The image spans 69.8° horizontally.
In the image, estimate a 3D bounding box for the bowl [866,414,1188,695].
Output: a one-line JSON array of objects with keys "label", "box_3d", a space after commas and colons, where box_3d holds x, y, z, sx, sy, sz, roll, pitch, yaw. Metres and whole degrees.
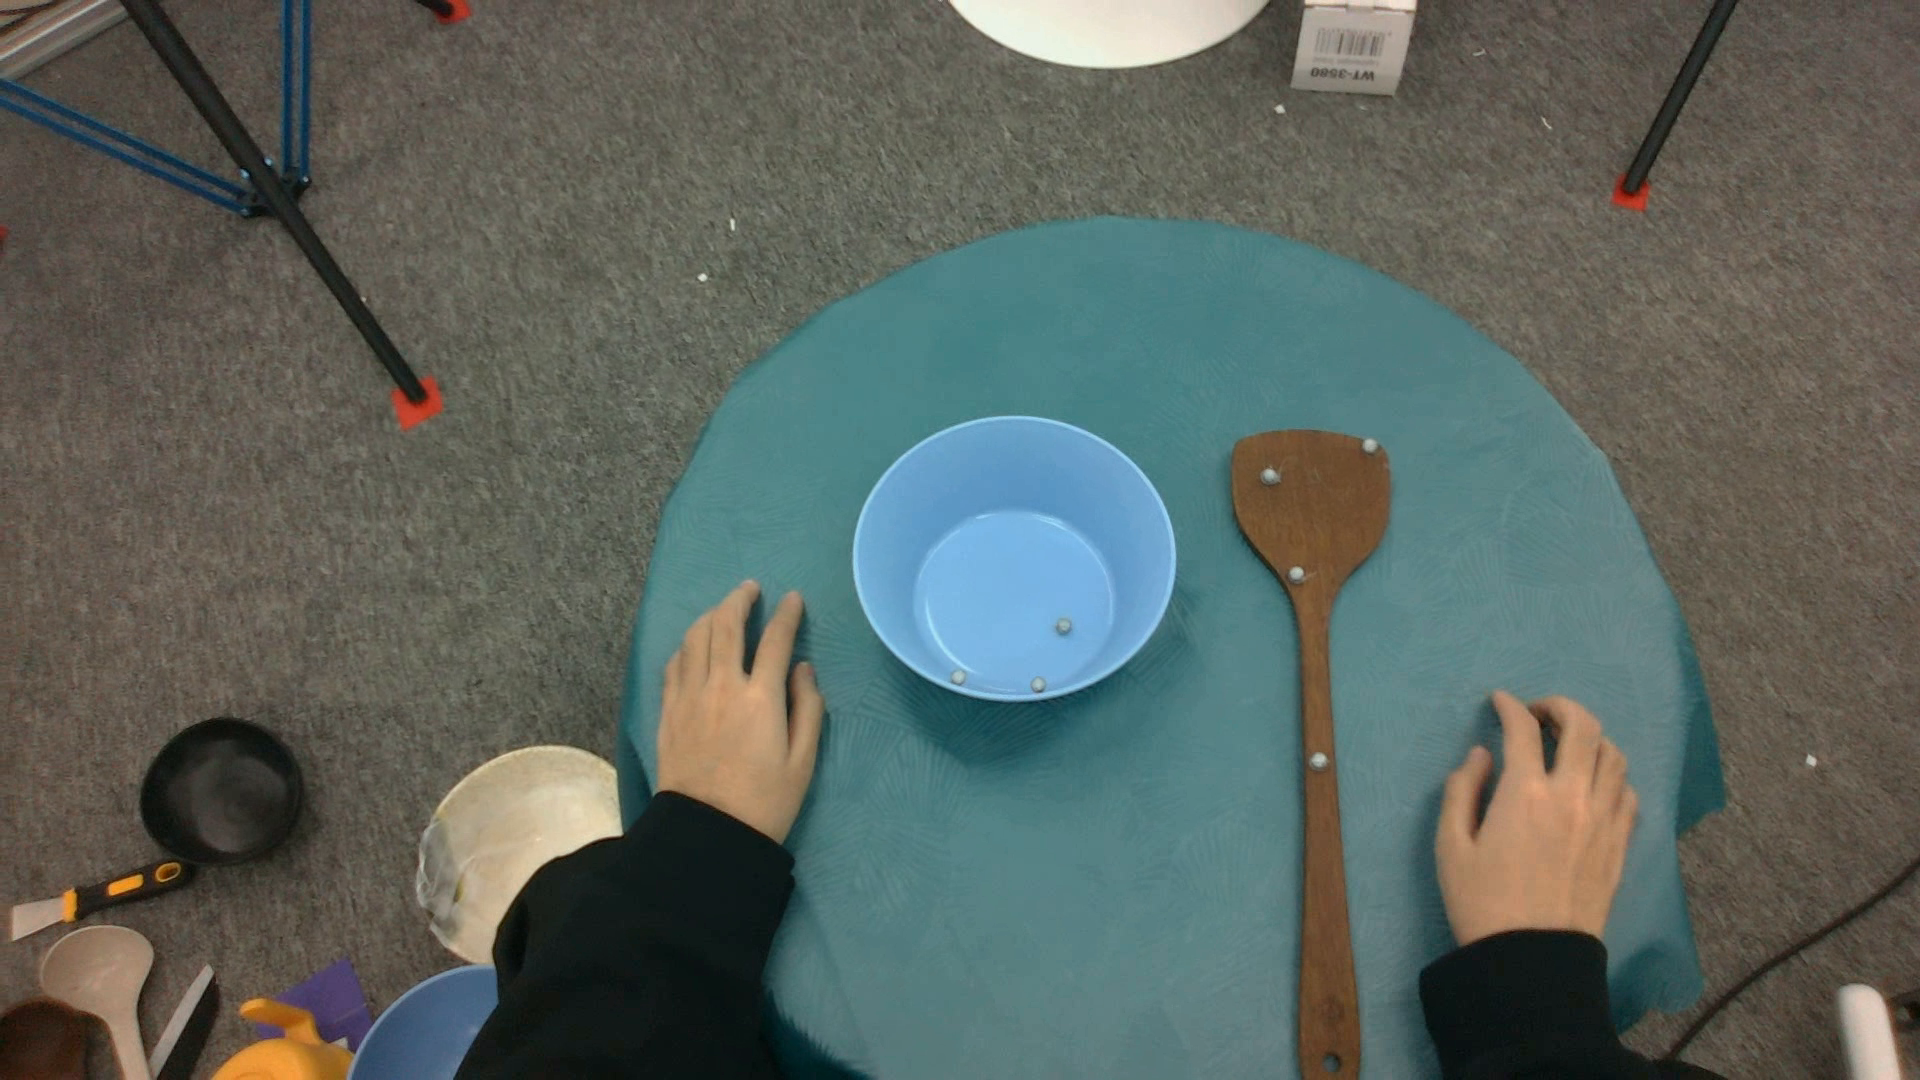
[{"label": "bowl", "box_3d": [0.036, 0.019, 0.772, 0.176, 0.070, 0.177, 0, 58, 0]}]

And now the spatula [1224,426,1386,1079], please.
[{"label": "spatula", "box_3d": [0.192, 0.100, 0.756, 0.096, 0.016, 0.387, 4, 61, 4]}]
